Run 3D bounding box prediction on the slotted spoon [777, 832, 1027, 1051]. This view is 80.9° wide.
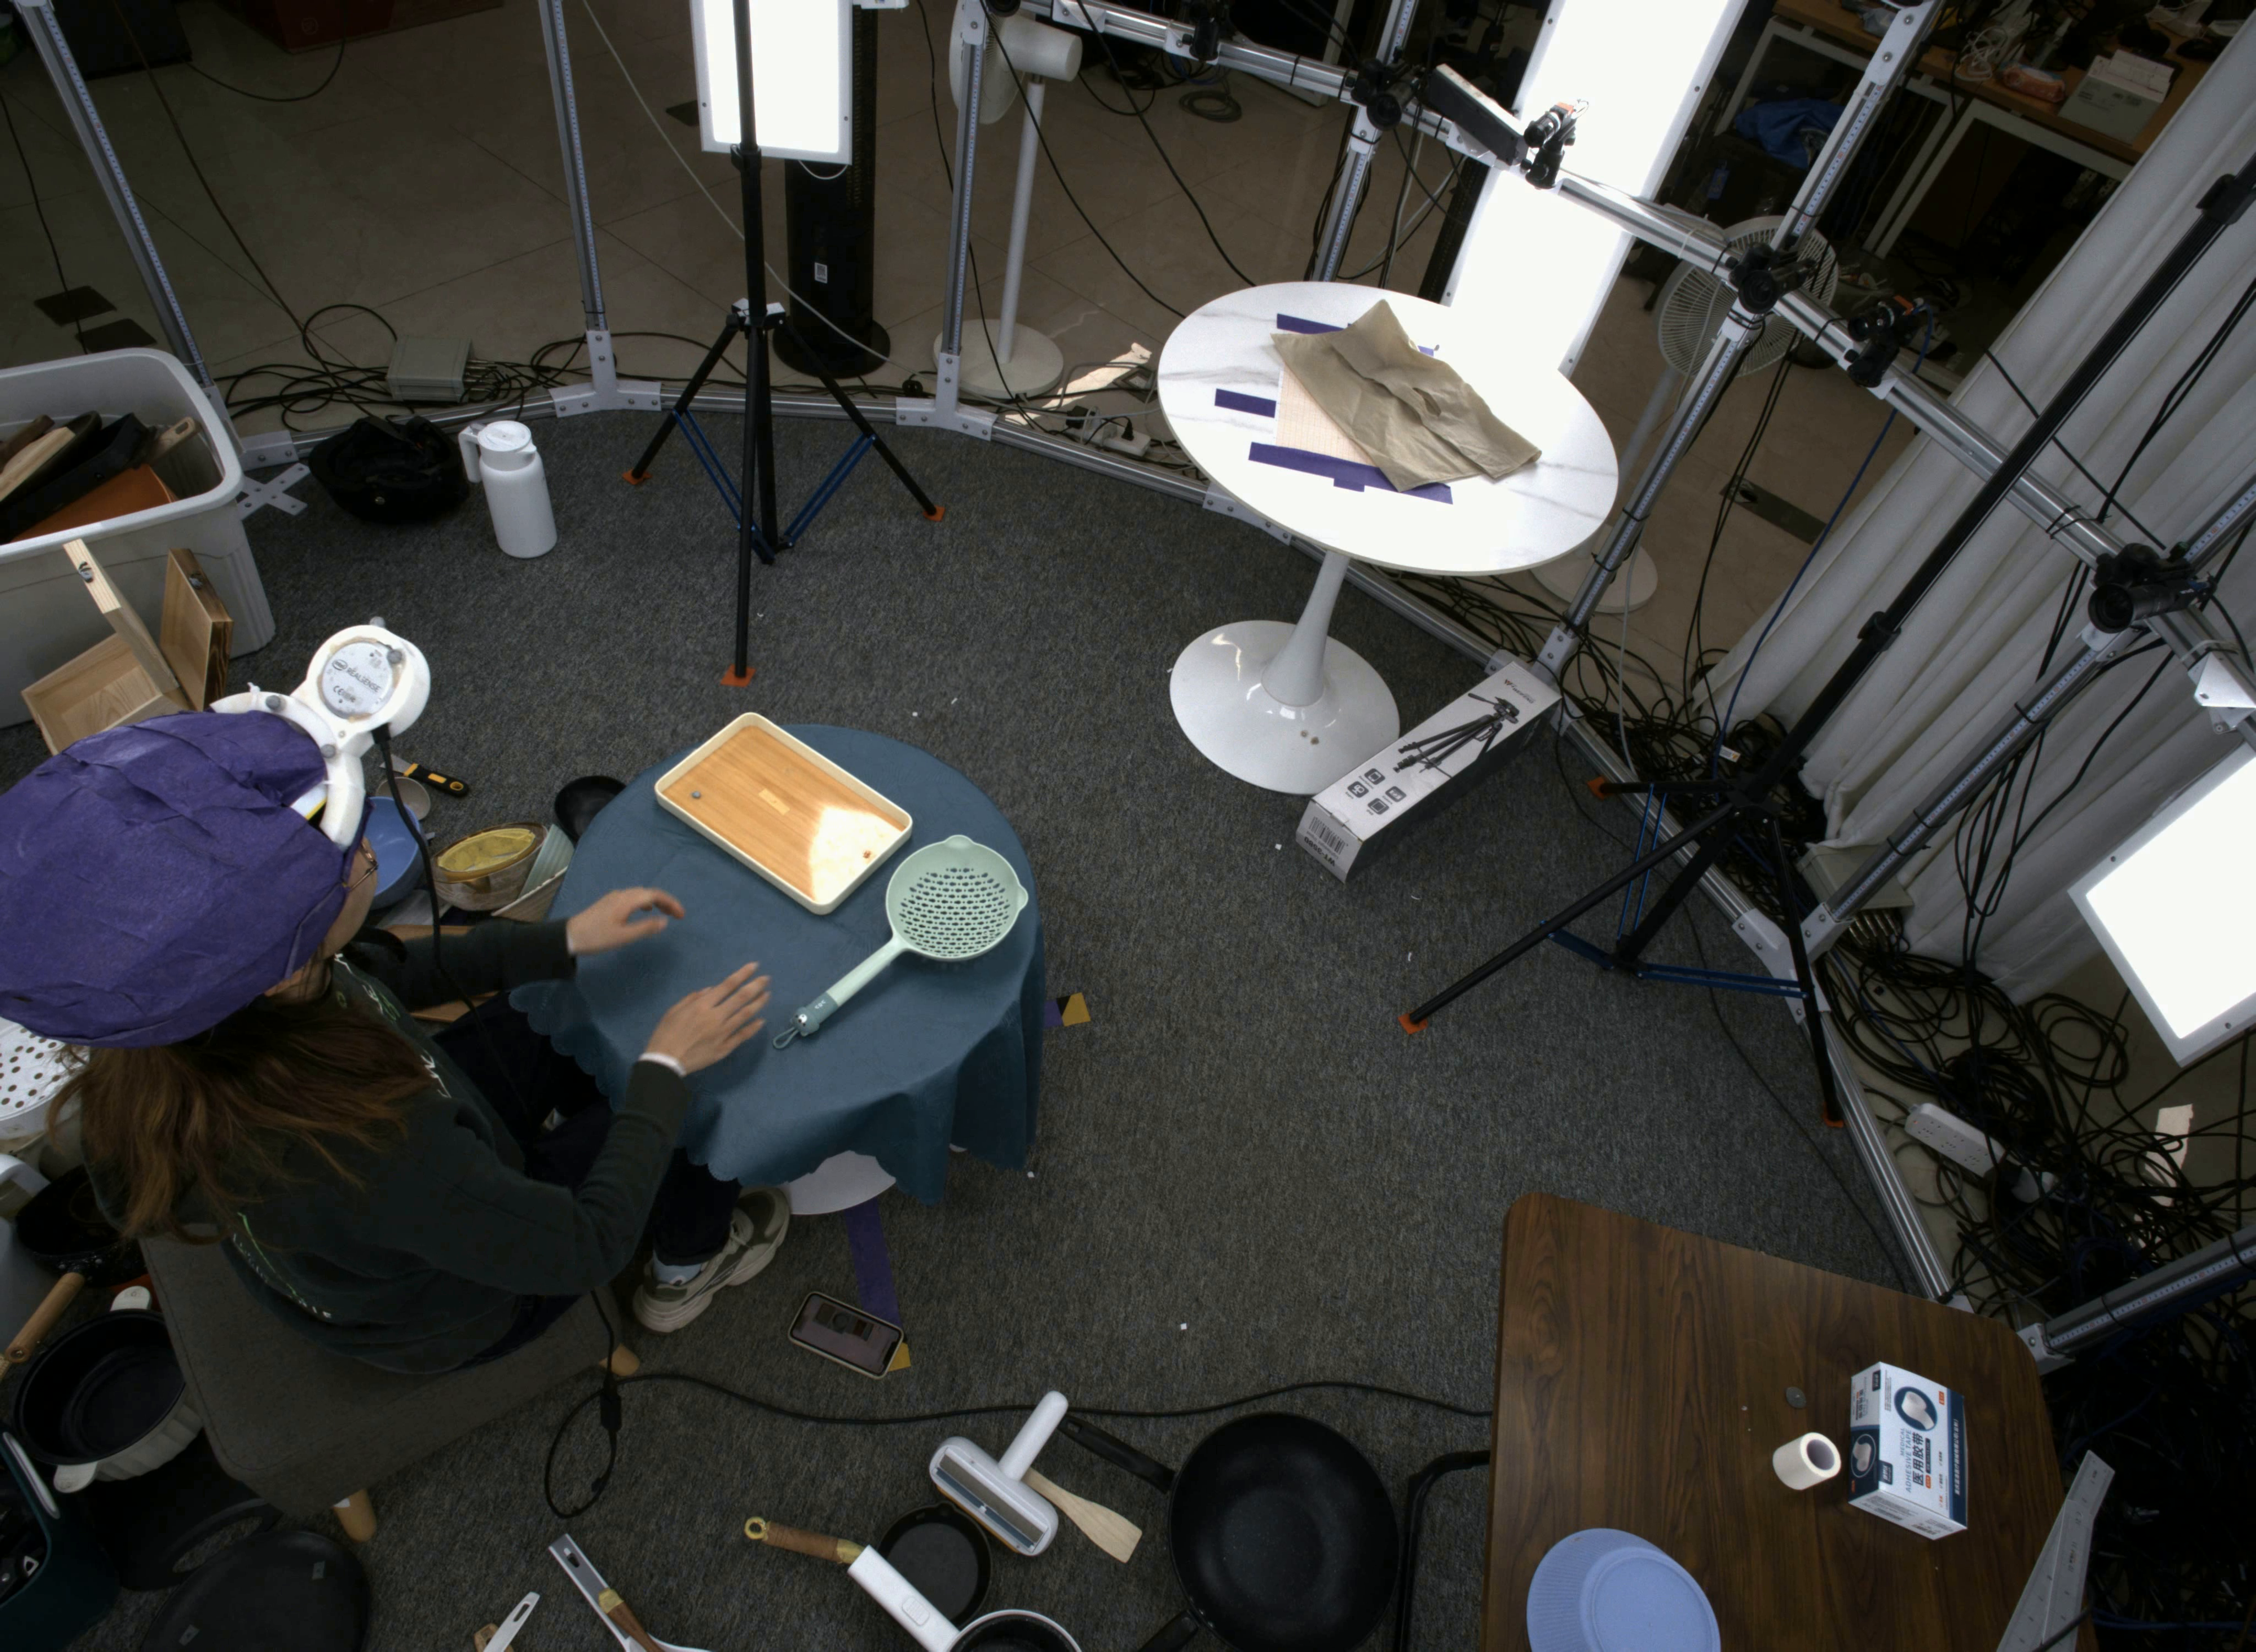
[{"bbox_3d":[-0.288,0.150,1.611,0.165,0.077,0.359,41,55,18],"label":"slotted spoon"}]

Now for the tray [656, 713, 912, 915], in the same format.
[{"bbox_3d":[-0.457,-0.022,1.720,0.295,0.028,0.191,33,53,11],"label":"tray"}]
